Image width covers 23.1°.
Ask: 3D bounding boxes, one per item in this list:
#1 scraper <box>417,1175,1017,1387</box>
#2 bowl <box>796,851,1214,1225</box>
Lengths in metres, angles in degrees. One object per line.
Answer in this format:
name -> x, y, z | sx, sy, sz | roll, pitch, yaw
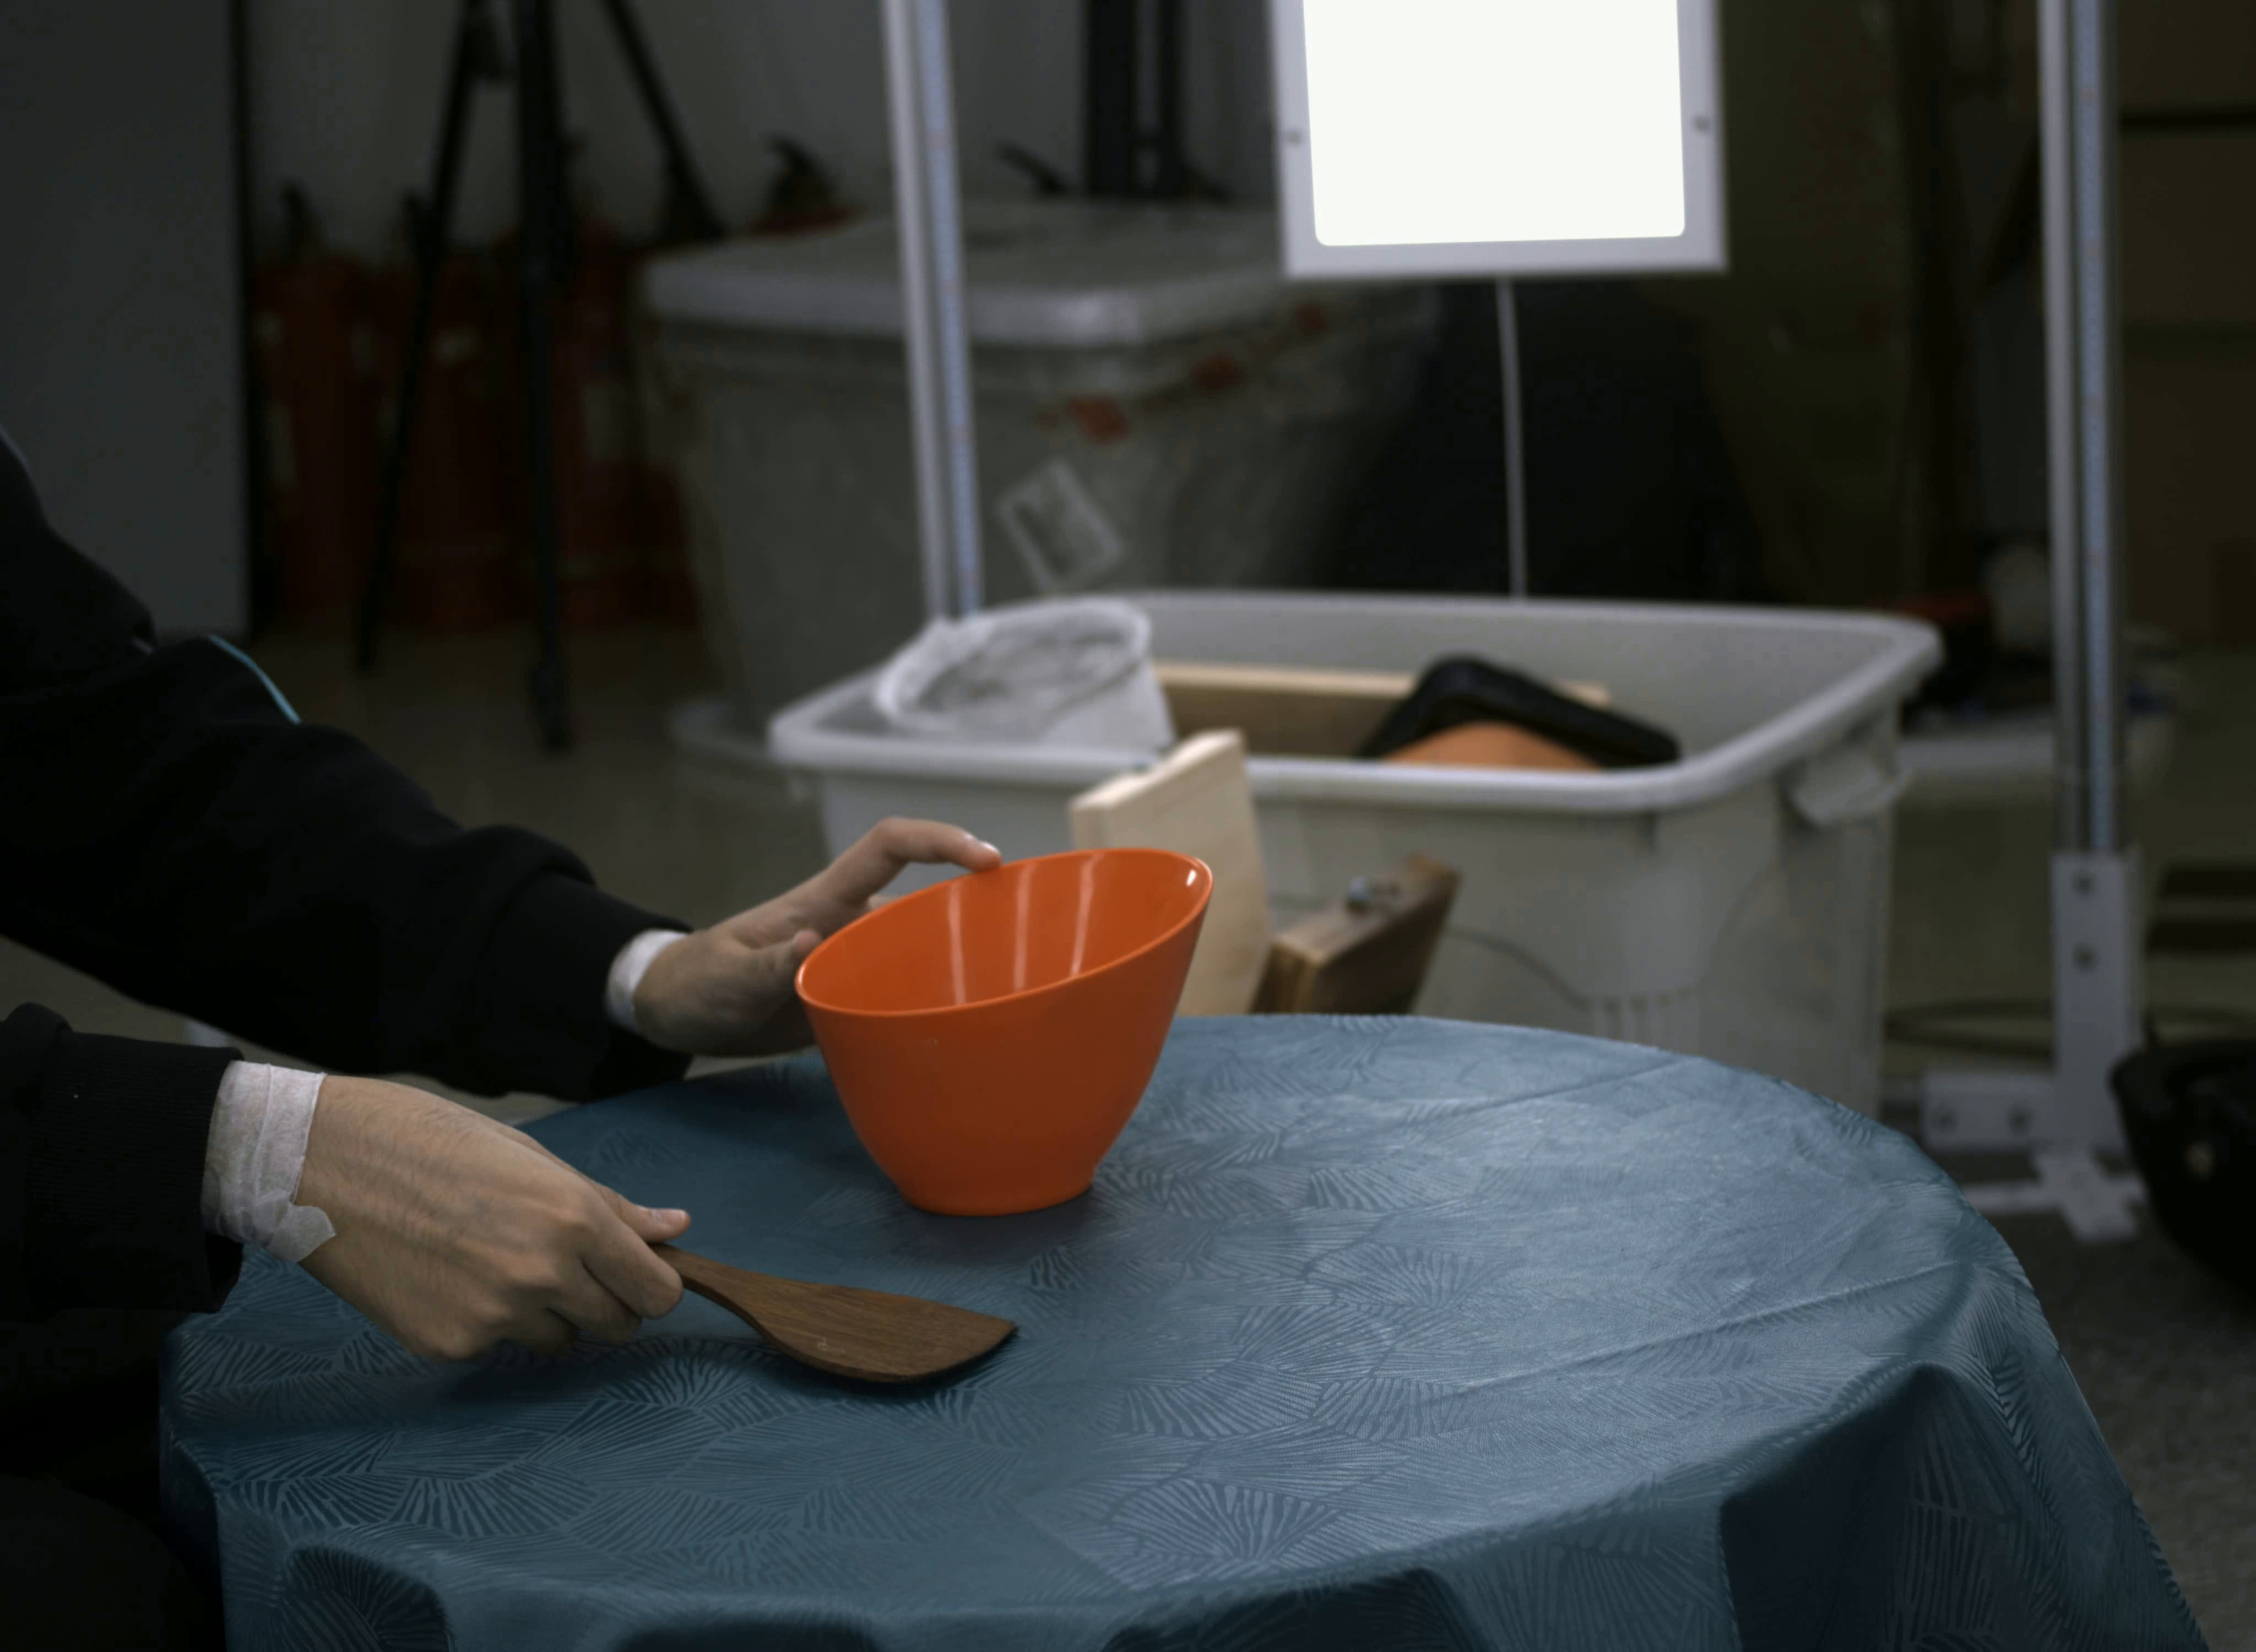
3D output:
scraper -> -0.138, 0.145, 1.782 | 0.214, 0.011, 0.074 | 15, 18, 26
bowl -> -0.038, 0.077, 1.907 | 0.148, 0.105, 0.148 | -6, 15, 0
